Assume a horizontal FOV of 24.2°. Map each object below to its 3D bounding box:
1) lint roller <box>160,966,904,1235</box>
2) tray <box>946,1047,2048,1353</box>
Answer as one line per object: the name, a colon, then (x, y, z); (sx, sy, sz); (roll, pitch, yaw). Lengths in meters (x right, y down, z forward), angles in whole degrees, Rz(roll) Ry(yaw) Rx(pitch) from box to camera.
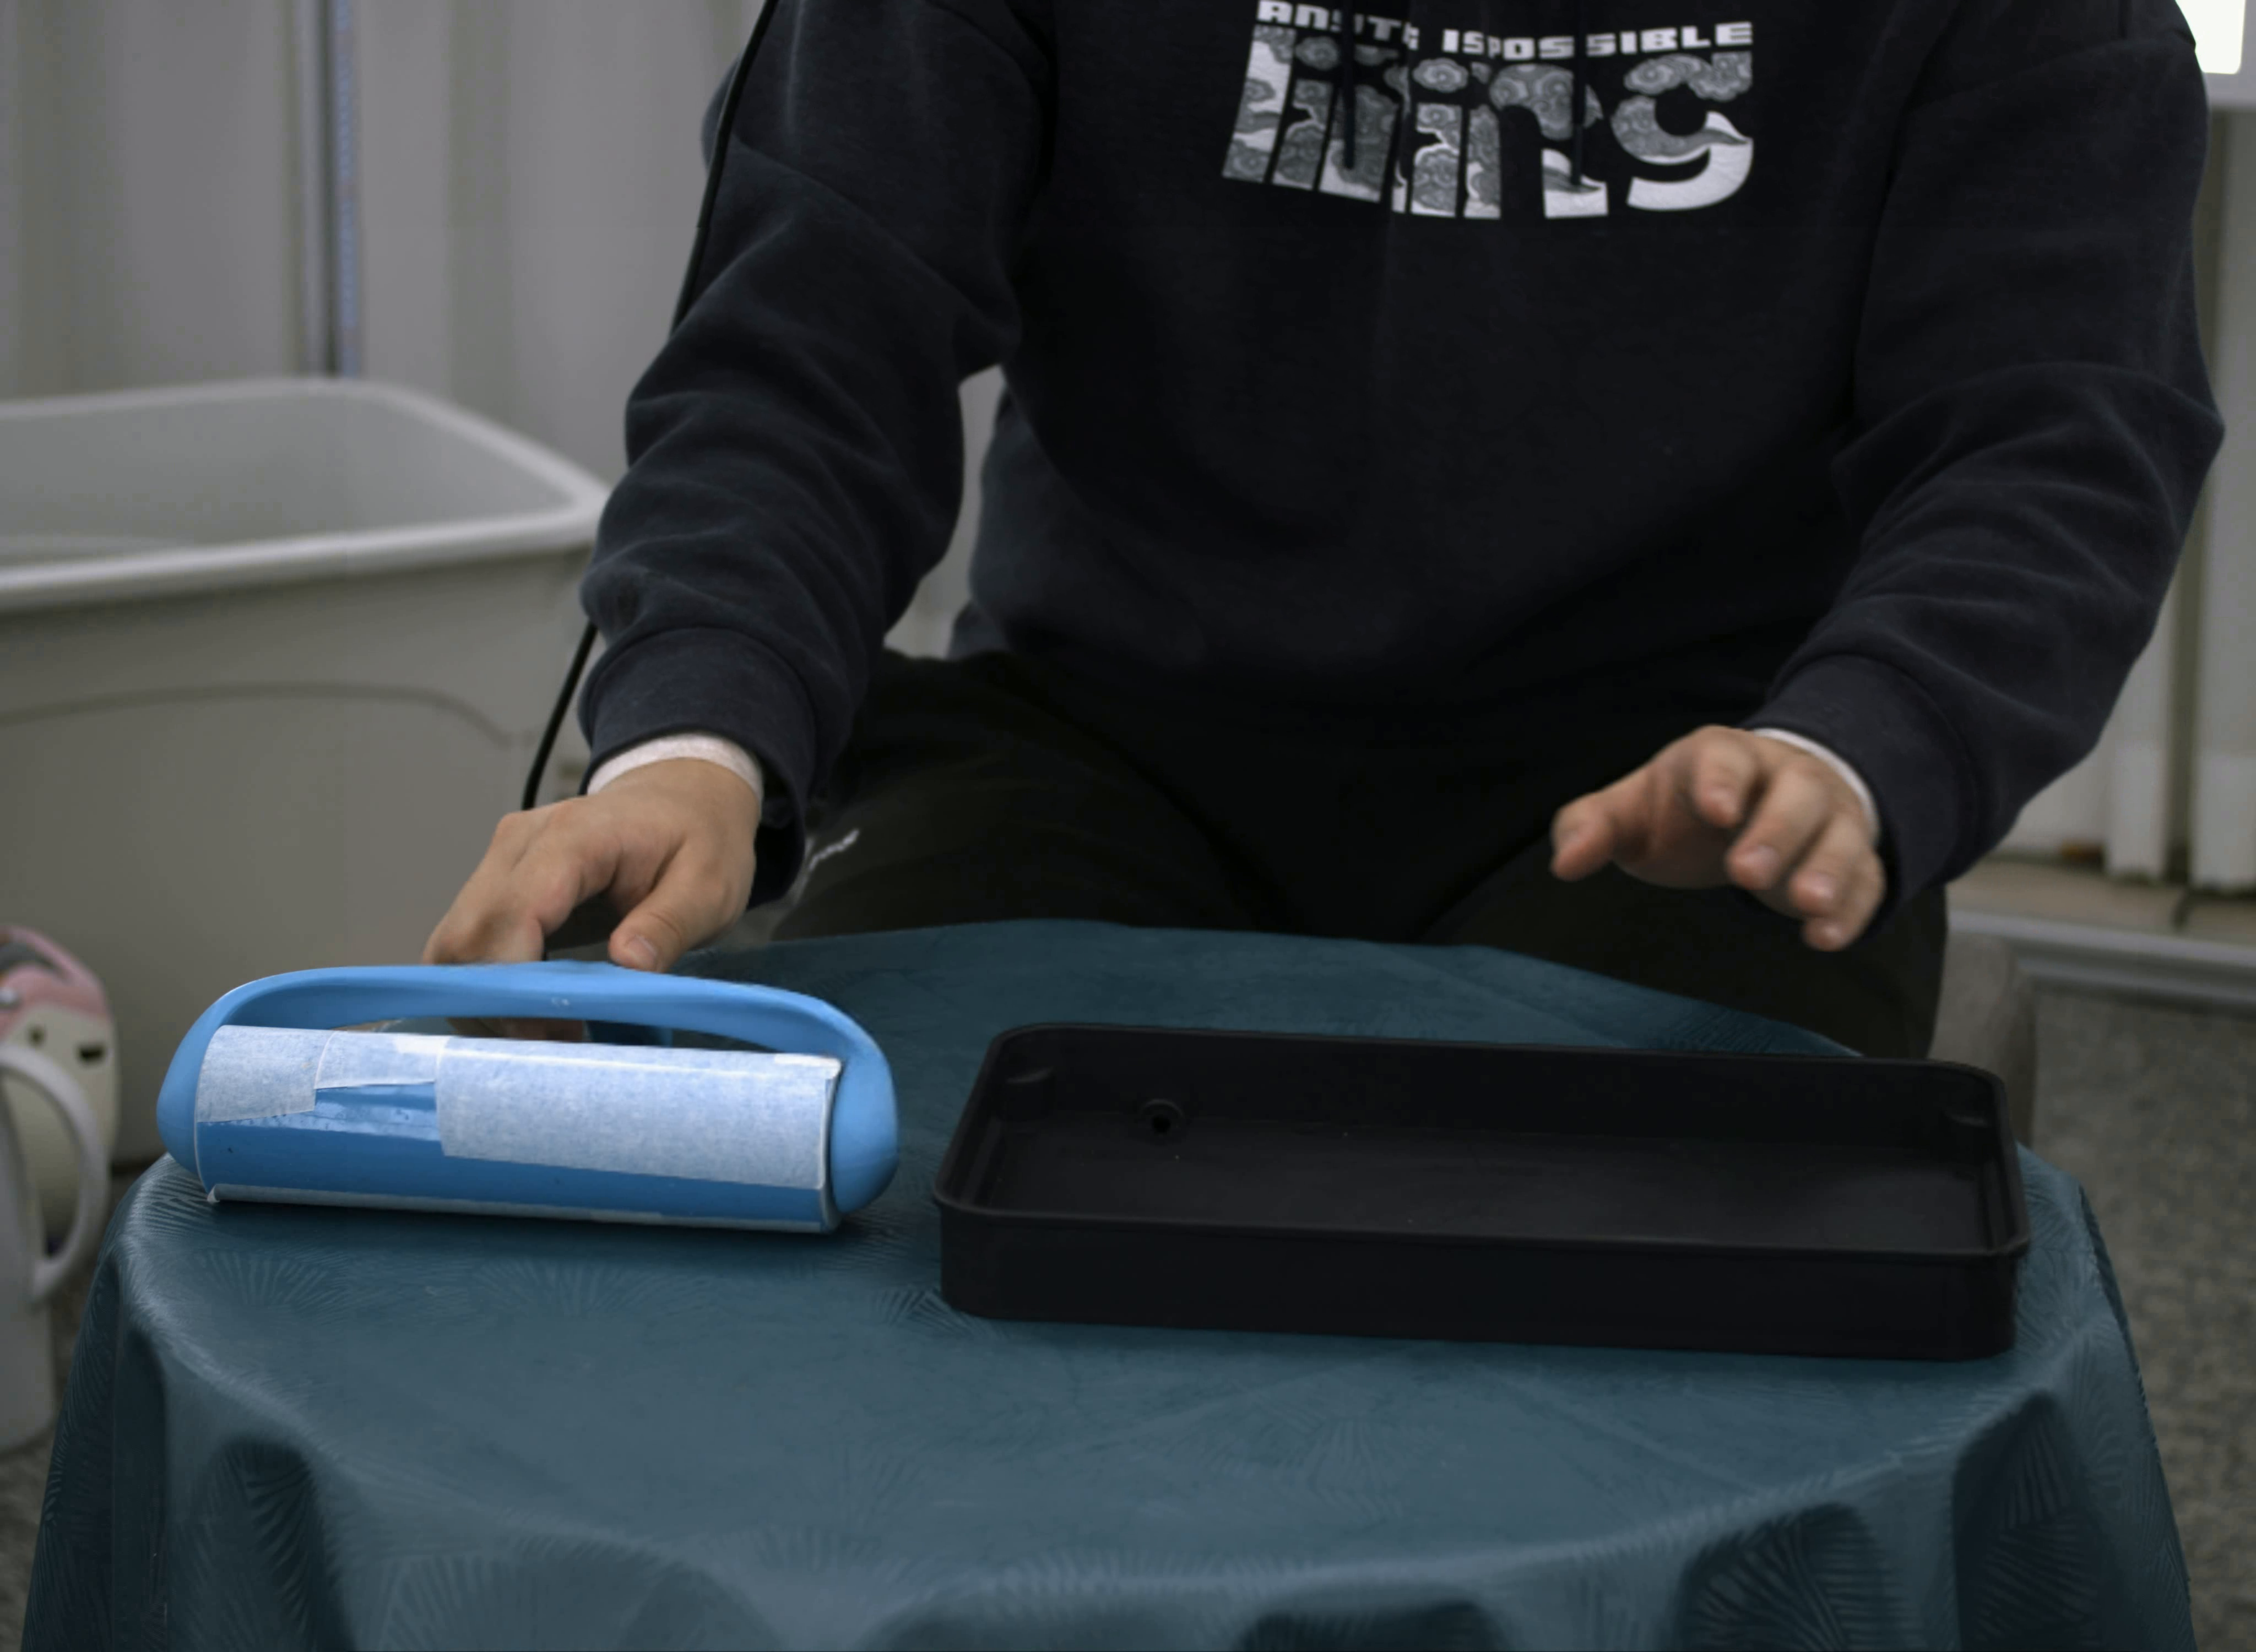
lint roller: (-0.174, 0.074, 1.646); (0.228, 0.068, 0.179); (0, 17, 6)
tray: (0.112, 0.110, 1.585); (0.316, 0.037, 0.183); (0, 15, 5)
